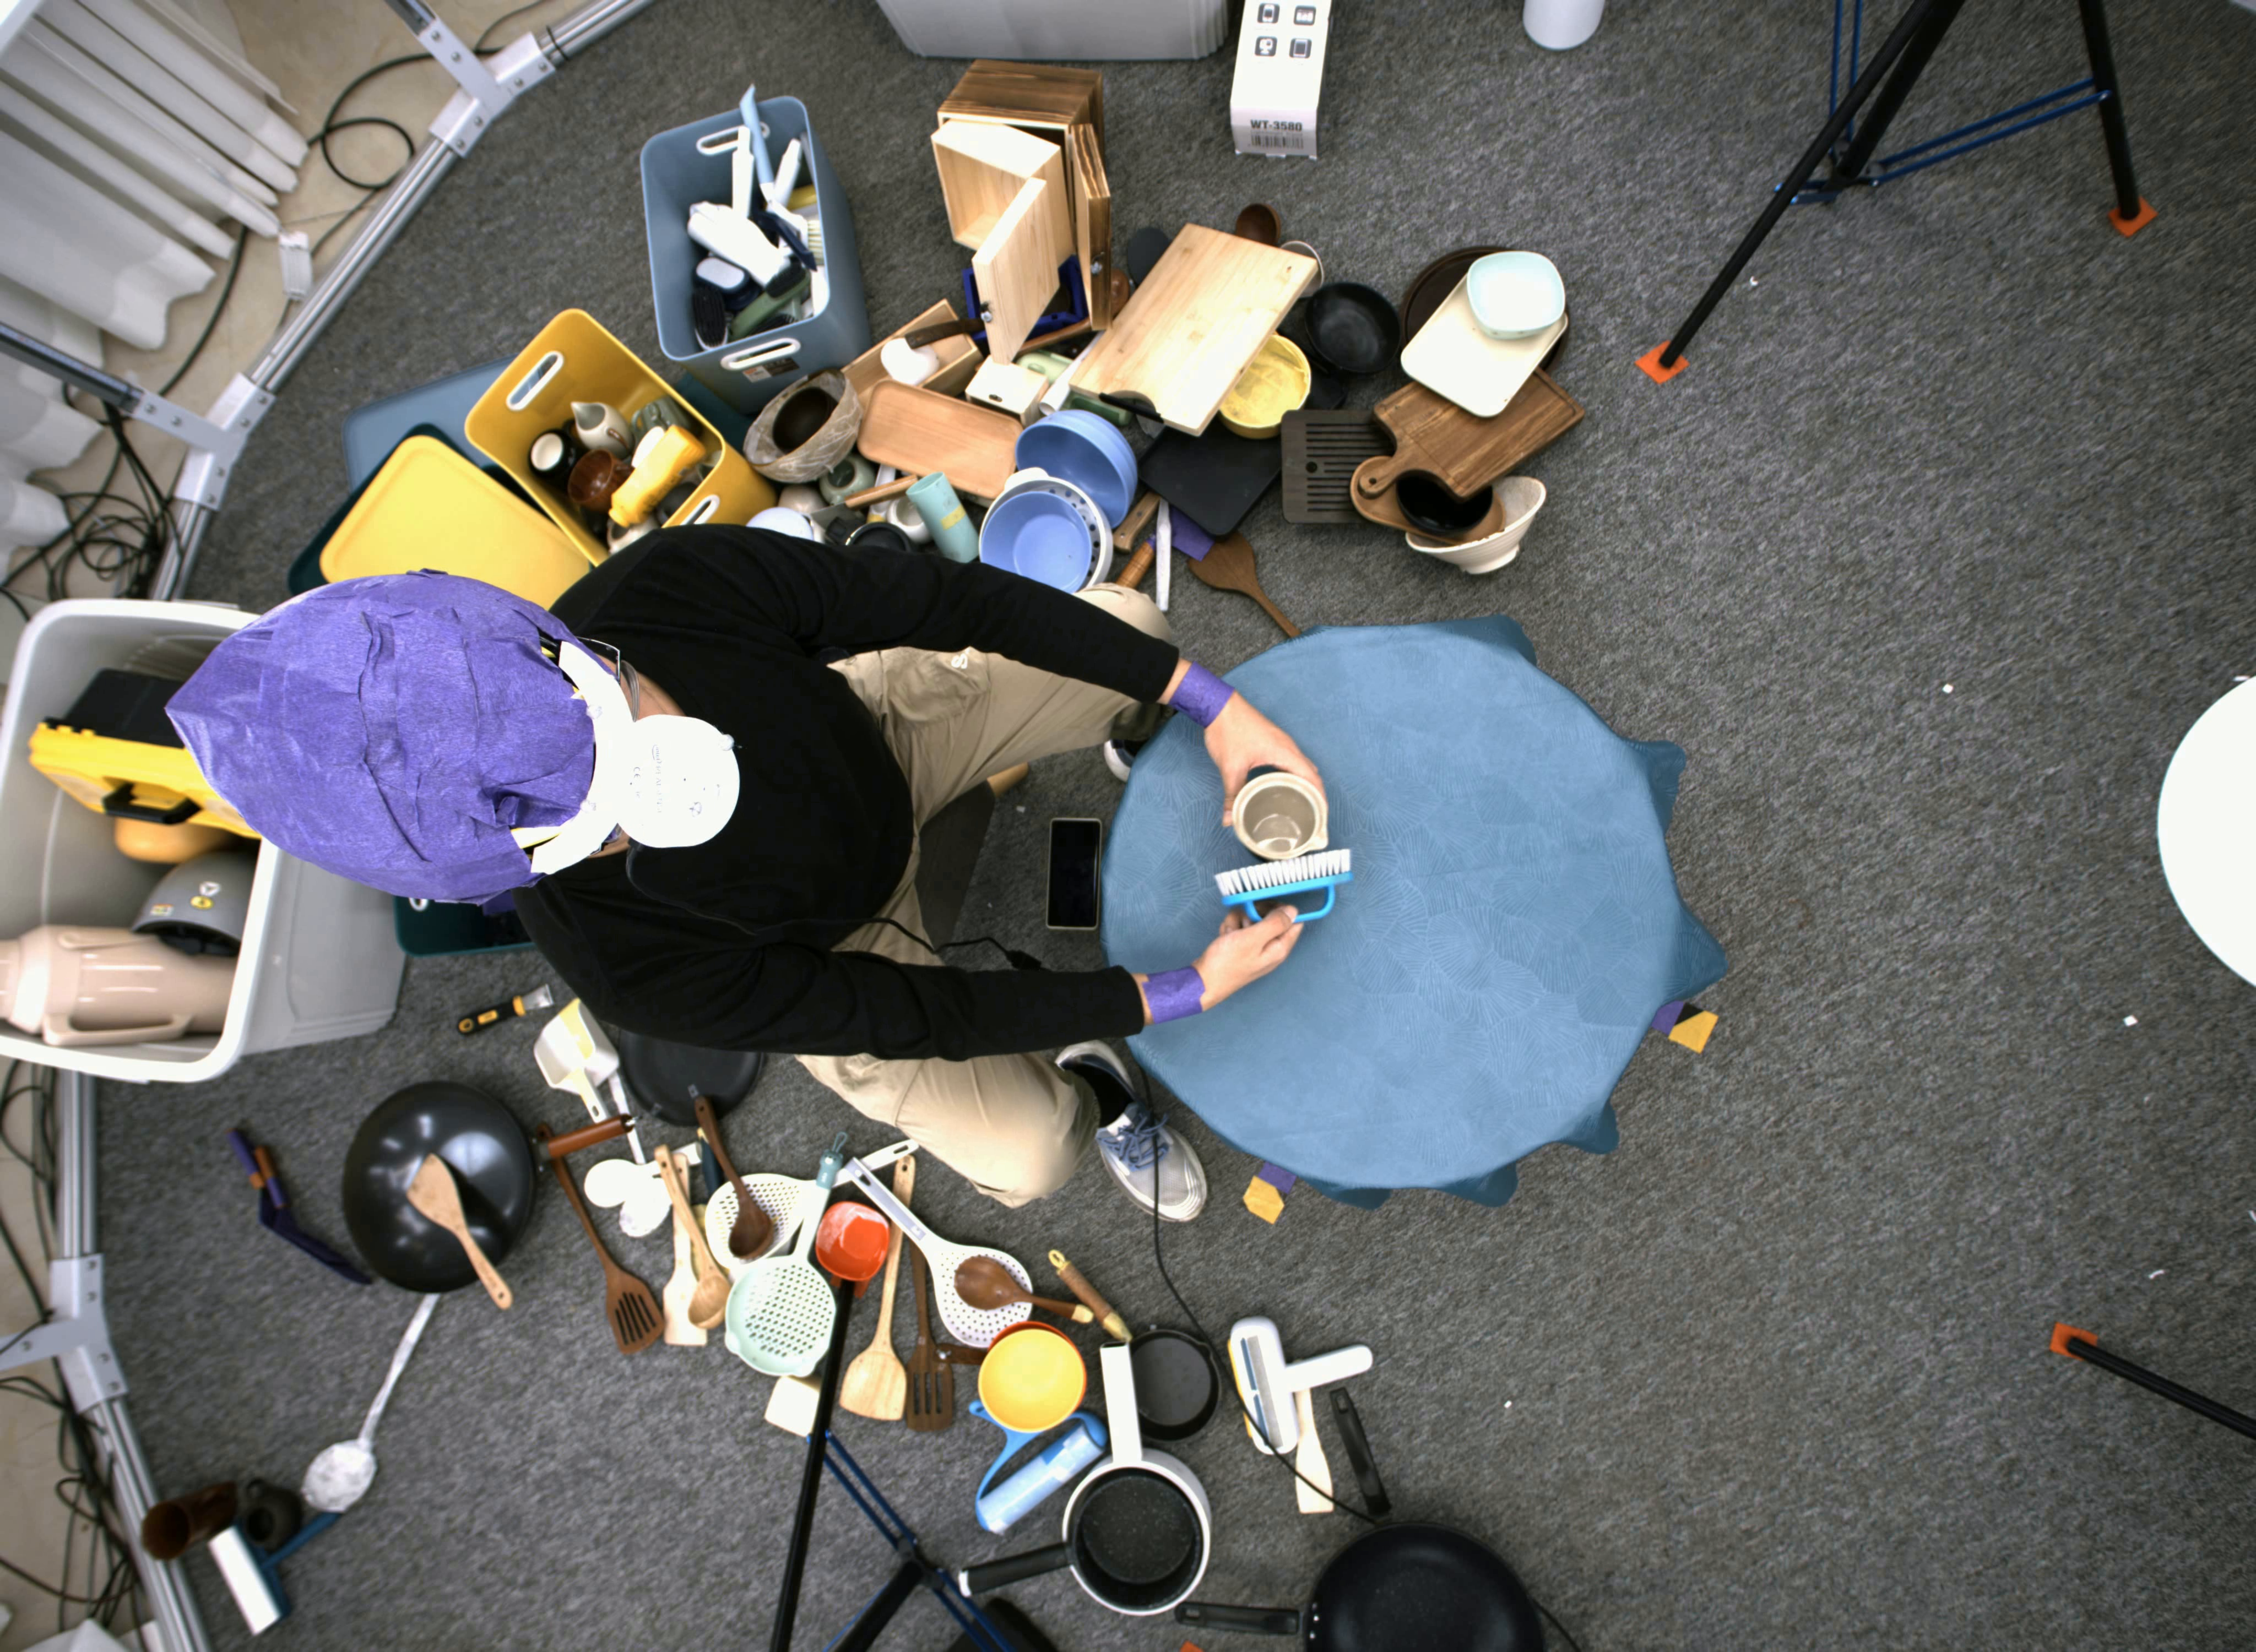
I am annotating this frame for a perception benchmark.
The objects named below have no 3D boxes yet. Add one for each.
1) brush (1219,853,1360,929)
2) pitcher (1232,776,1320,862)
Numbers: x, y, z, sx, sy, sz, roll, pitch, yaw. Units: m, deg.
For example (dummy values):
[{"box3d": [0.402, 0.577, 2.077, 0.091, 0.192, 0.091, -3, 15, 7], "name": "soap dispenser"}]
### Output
[{"box3d": [0.164, 0.068, 1.396, 0.141, 0.084, 0.064, -9, 90, -8], "name": "brush"}, {"box3d": [0.150, 0.000, 1.400, 0.095, 0.072, 0.083, 41, 77, 12], "name": "pitcher"}]
